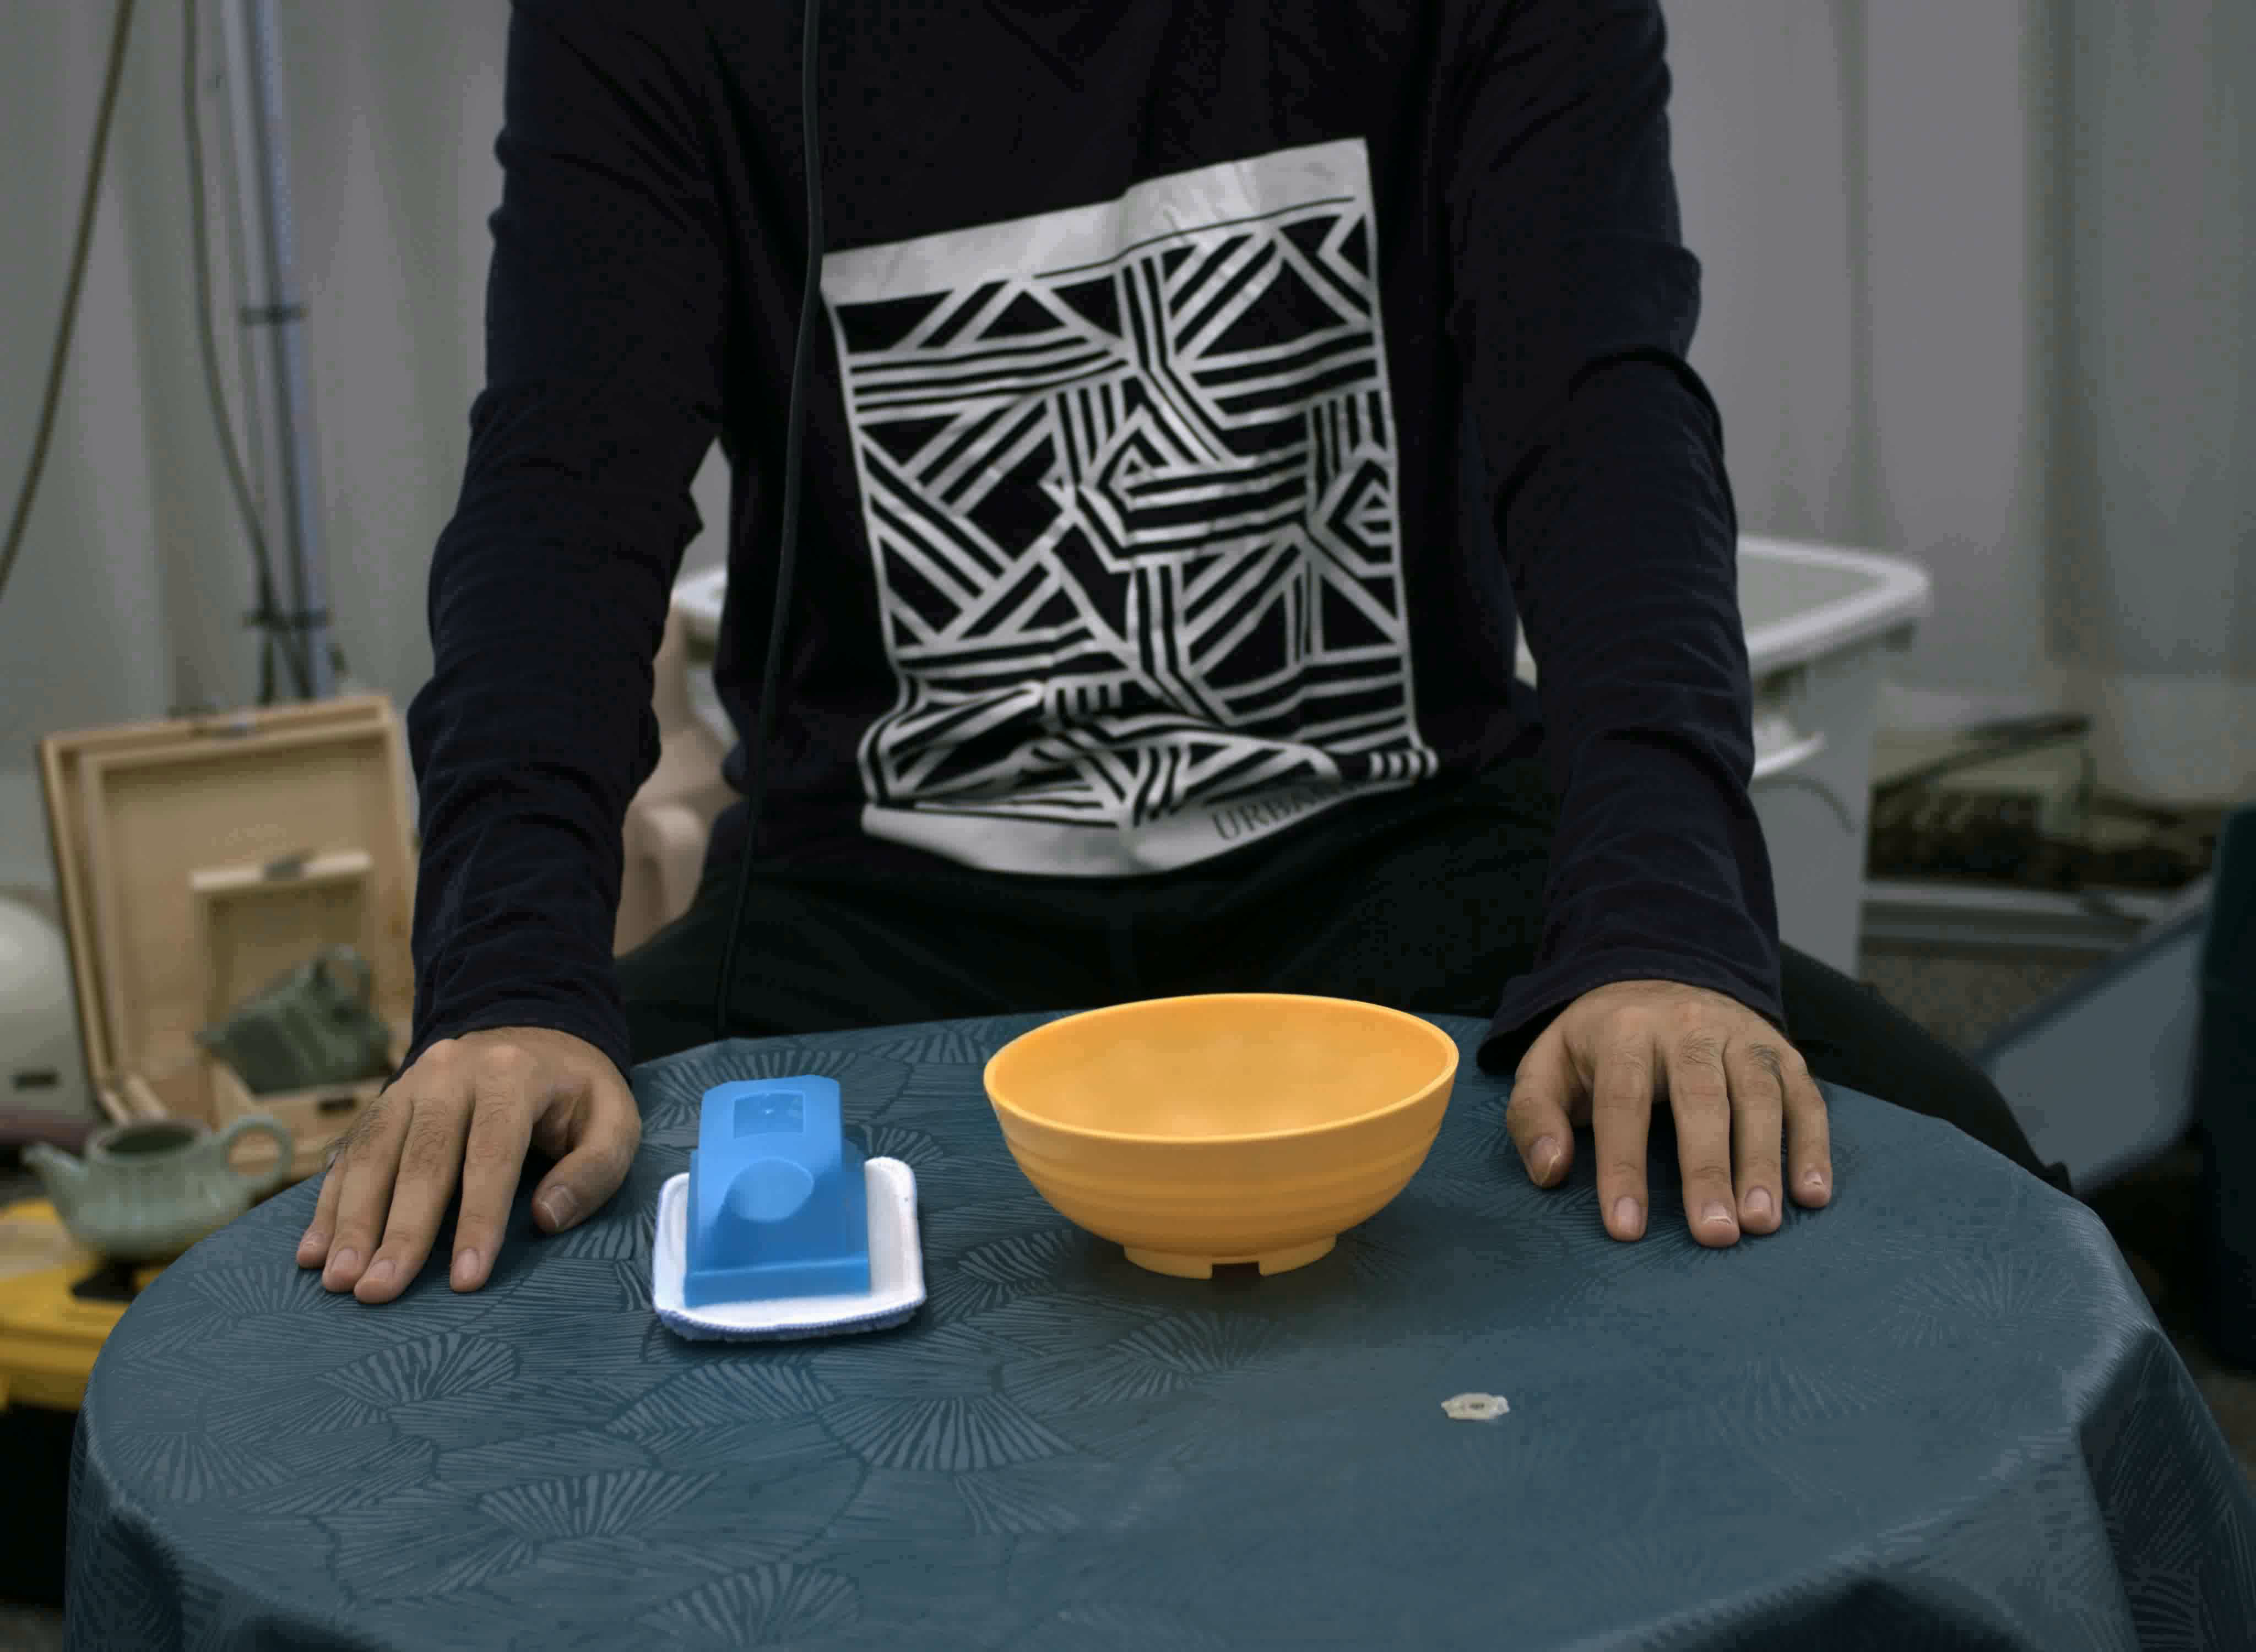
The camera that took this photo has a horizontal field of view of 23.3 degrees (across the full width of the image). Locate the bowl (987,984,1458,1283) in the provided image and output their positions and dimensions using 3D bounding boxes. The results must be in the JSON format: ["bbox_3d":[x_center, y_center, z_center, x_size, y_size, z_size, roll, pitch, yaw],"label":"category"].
[{"bbox_3d":[0.029,0.099,1.658,0.145,0.060,0.146,-2,17,0],"label":"bowl"}]

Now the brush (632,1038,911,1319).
[{"bbox_3d":[-0.107,0.104,1.658,0.083,0.055,0.145,0,17,-2],"label":"brush"}]
